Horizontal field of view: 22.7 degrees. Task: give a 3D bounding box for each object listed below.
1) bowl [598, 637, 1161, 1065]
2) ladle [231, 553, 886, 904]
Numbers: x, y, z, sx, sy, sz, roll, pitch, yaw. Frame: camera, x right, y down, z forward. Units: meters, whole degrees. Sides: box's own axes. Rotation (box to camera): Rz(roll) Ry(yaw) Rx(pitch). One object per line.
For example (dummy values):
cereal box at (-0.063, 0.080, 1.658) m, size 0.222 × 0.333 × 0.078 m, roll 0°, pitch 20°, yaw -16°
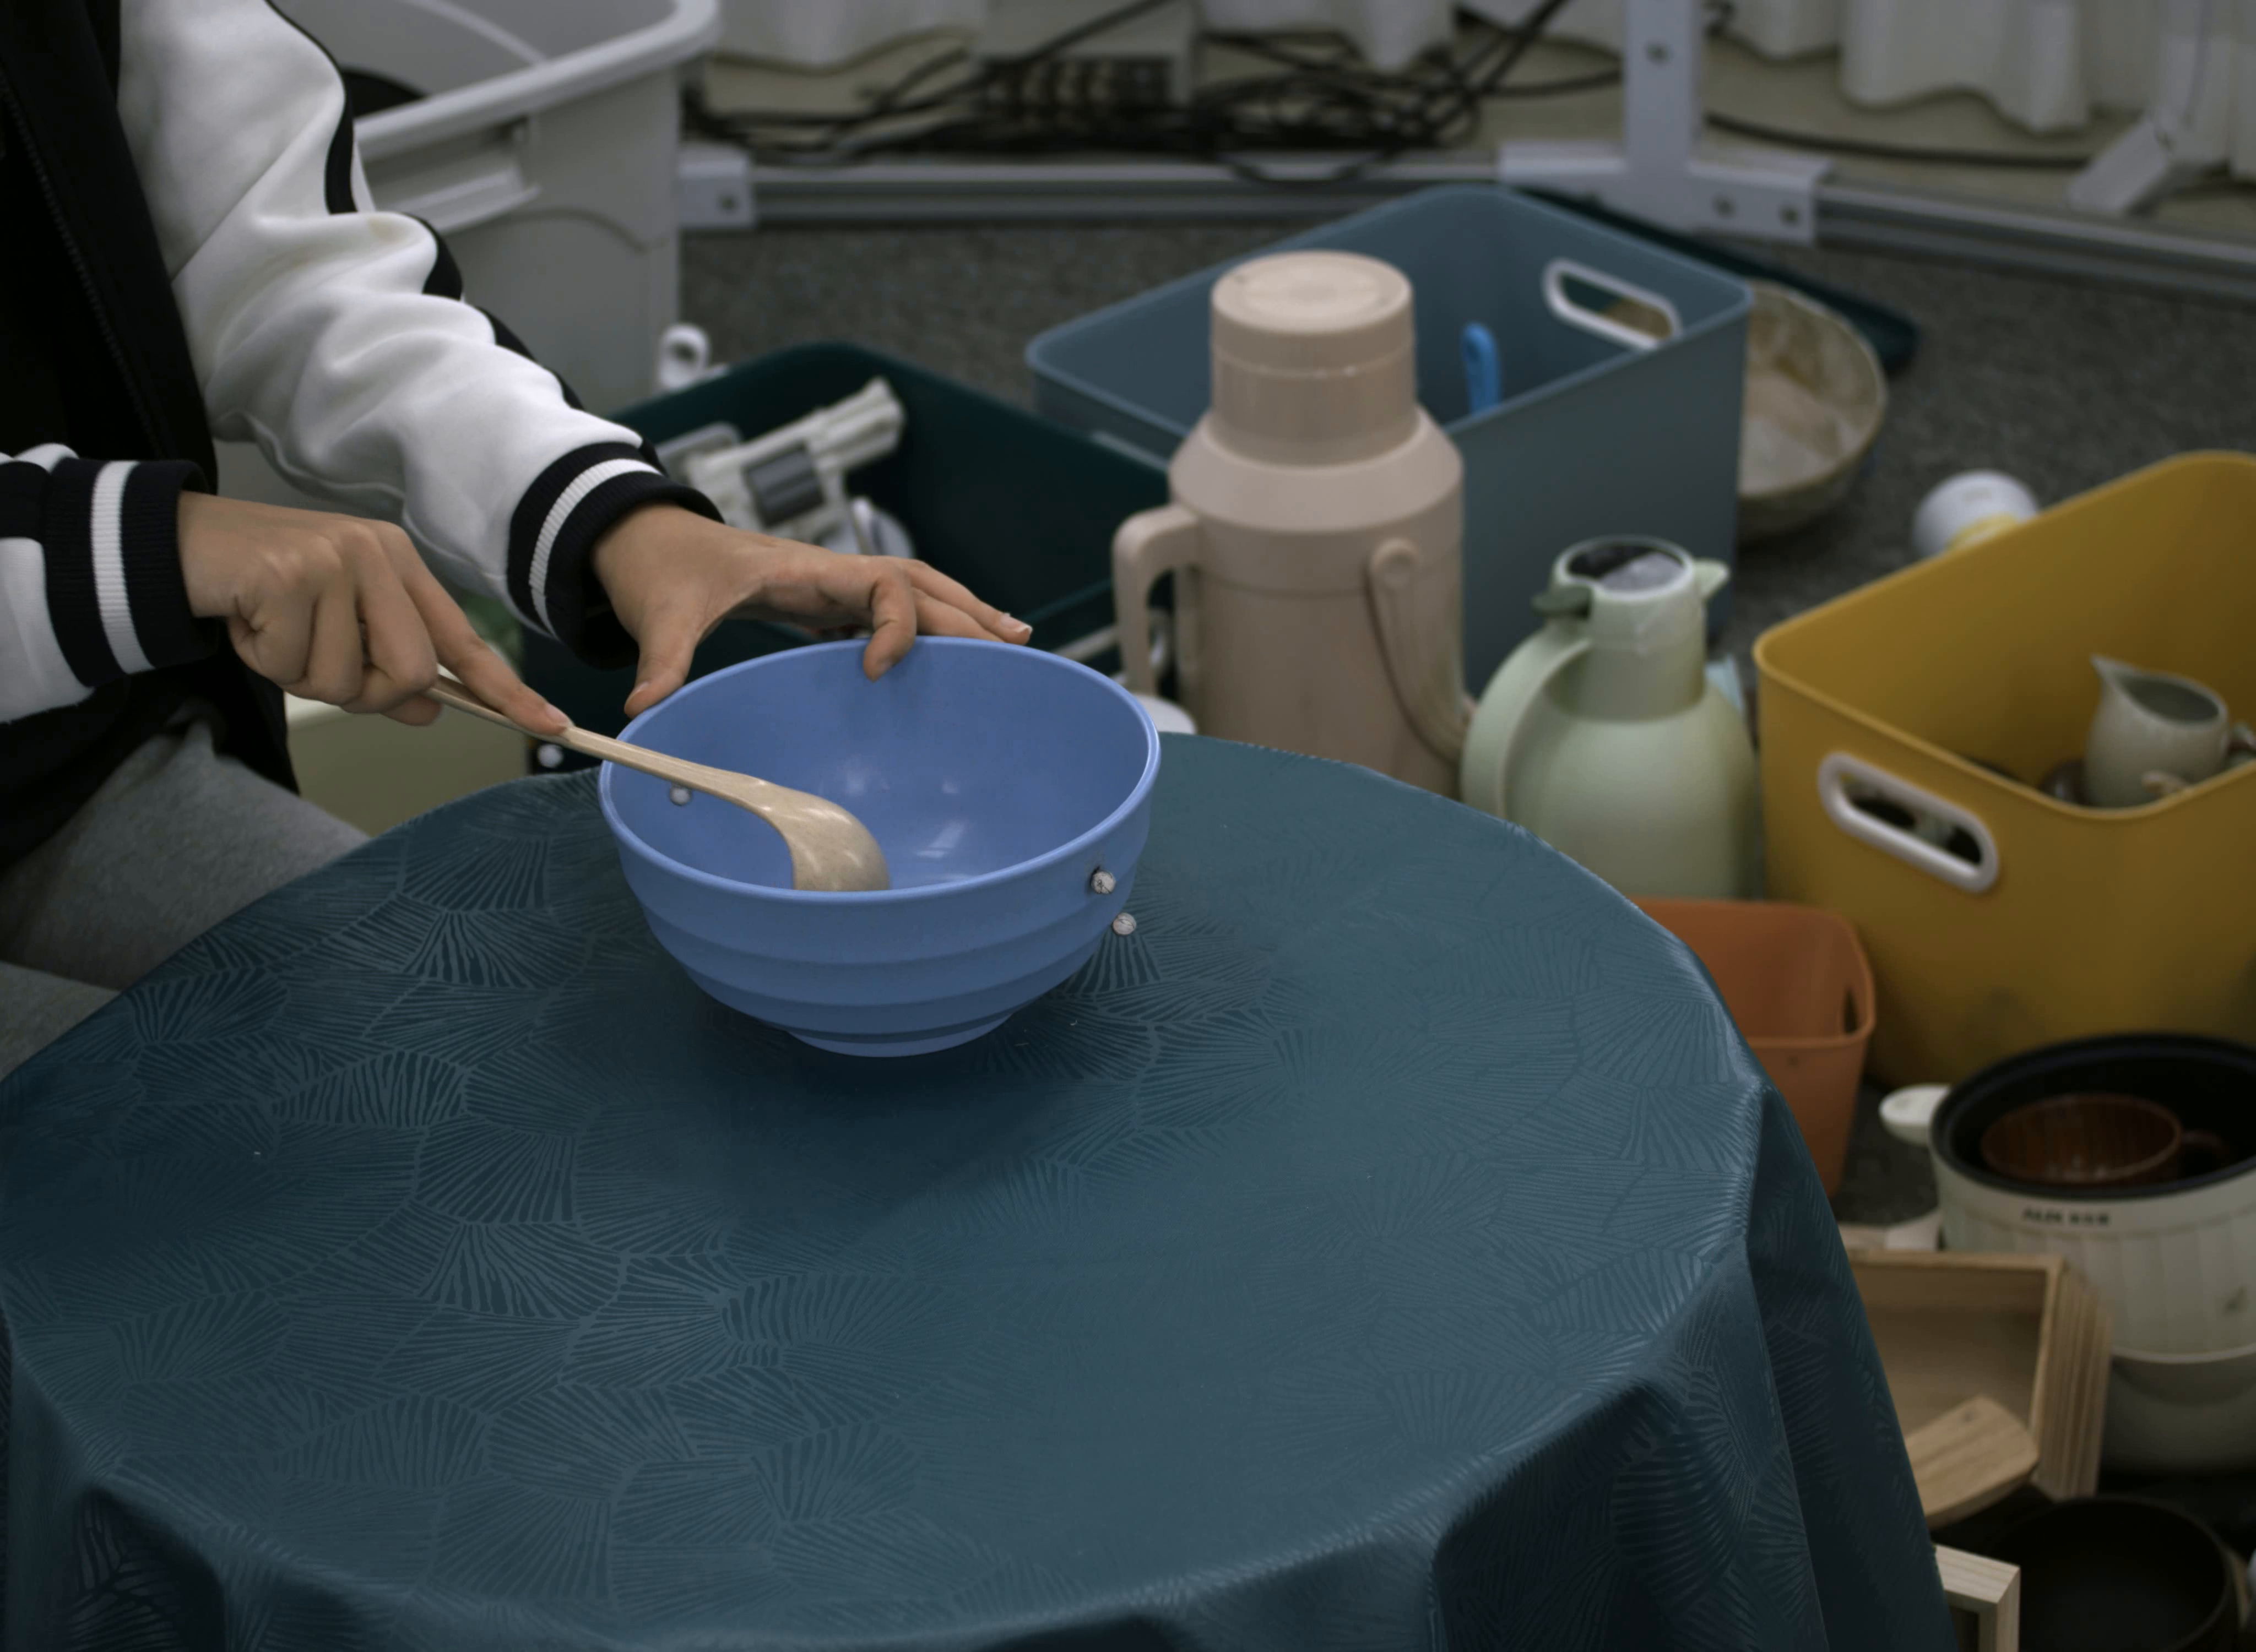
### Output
bowl at (-0.083, 0.021, 1.969) m, size 0.195 × 0.094 × 0.199 m, roll -3°, pitch 28°, yaw 2°
ladle at (-0.203, -0.012, 1.927) m, size 0.253 × 0.072 × 0.073 m, roll 24°, pitch 26°, yaw -14°
